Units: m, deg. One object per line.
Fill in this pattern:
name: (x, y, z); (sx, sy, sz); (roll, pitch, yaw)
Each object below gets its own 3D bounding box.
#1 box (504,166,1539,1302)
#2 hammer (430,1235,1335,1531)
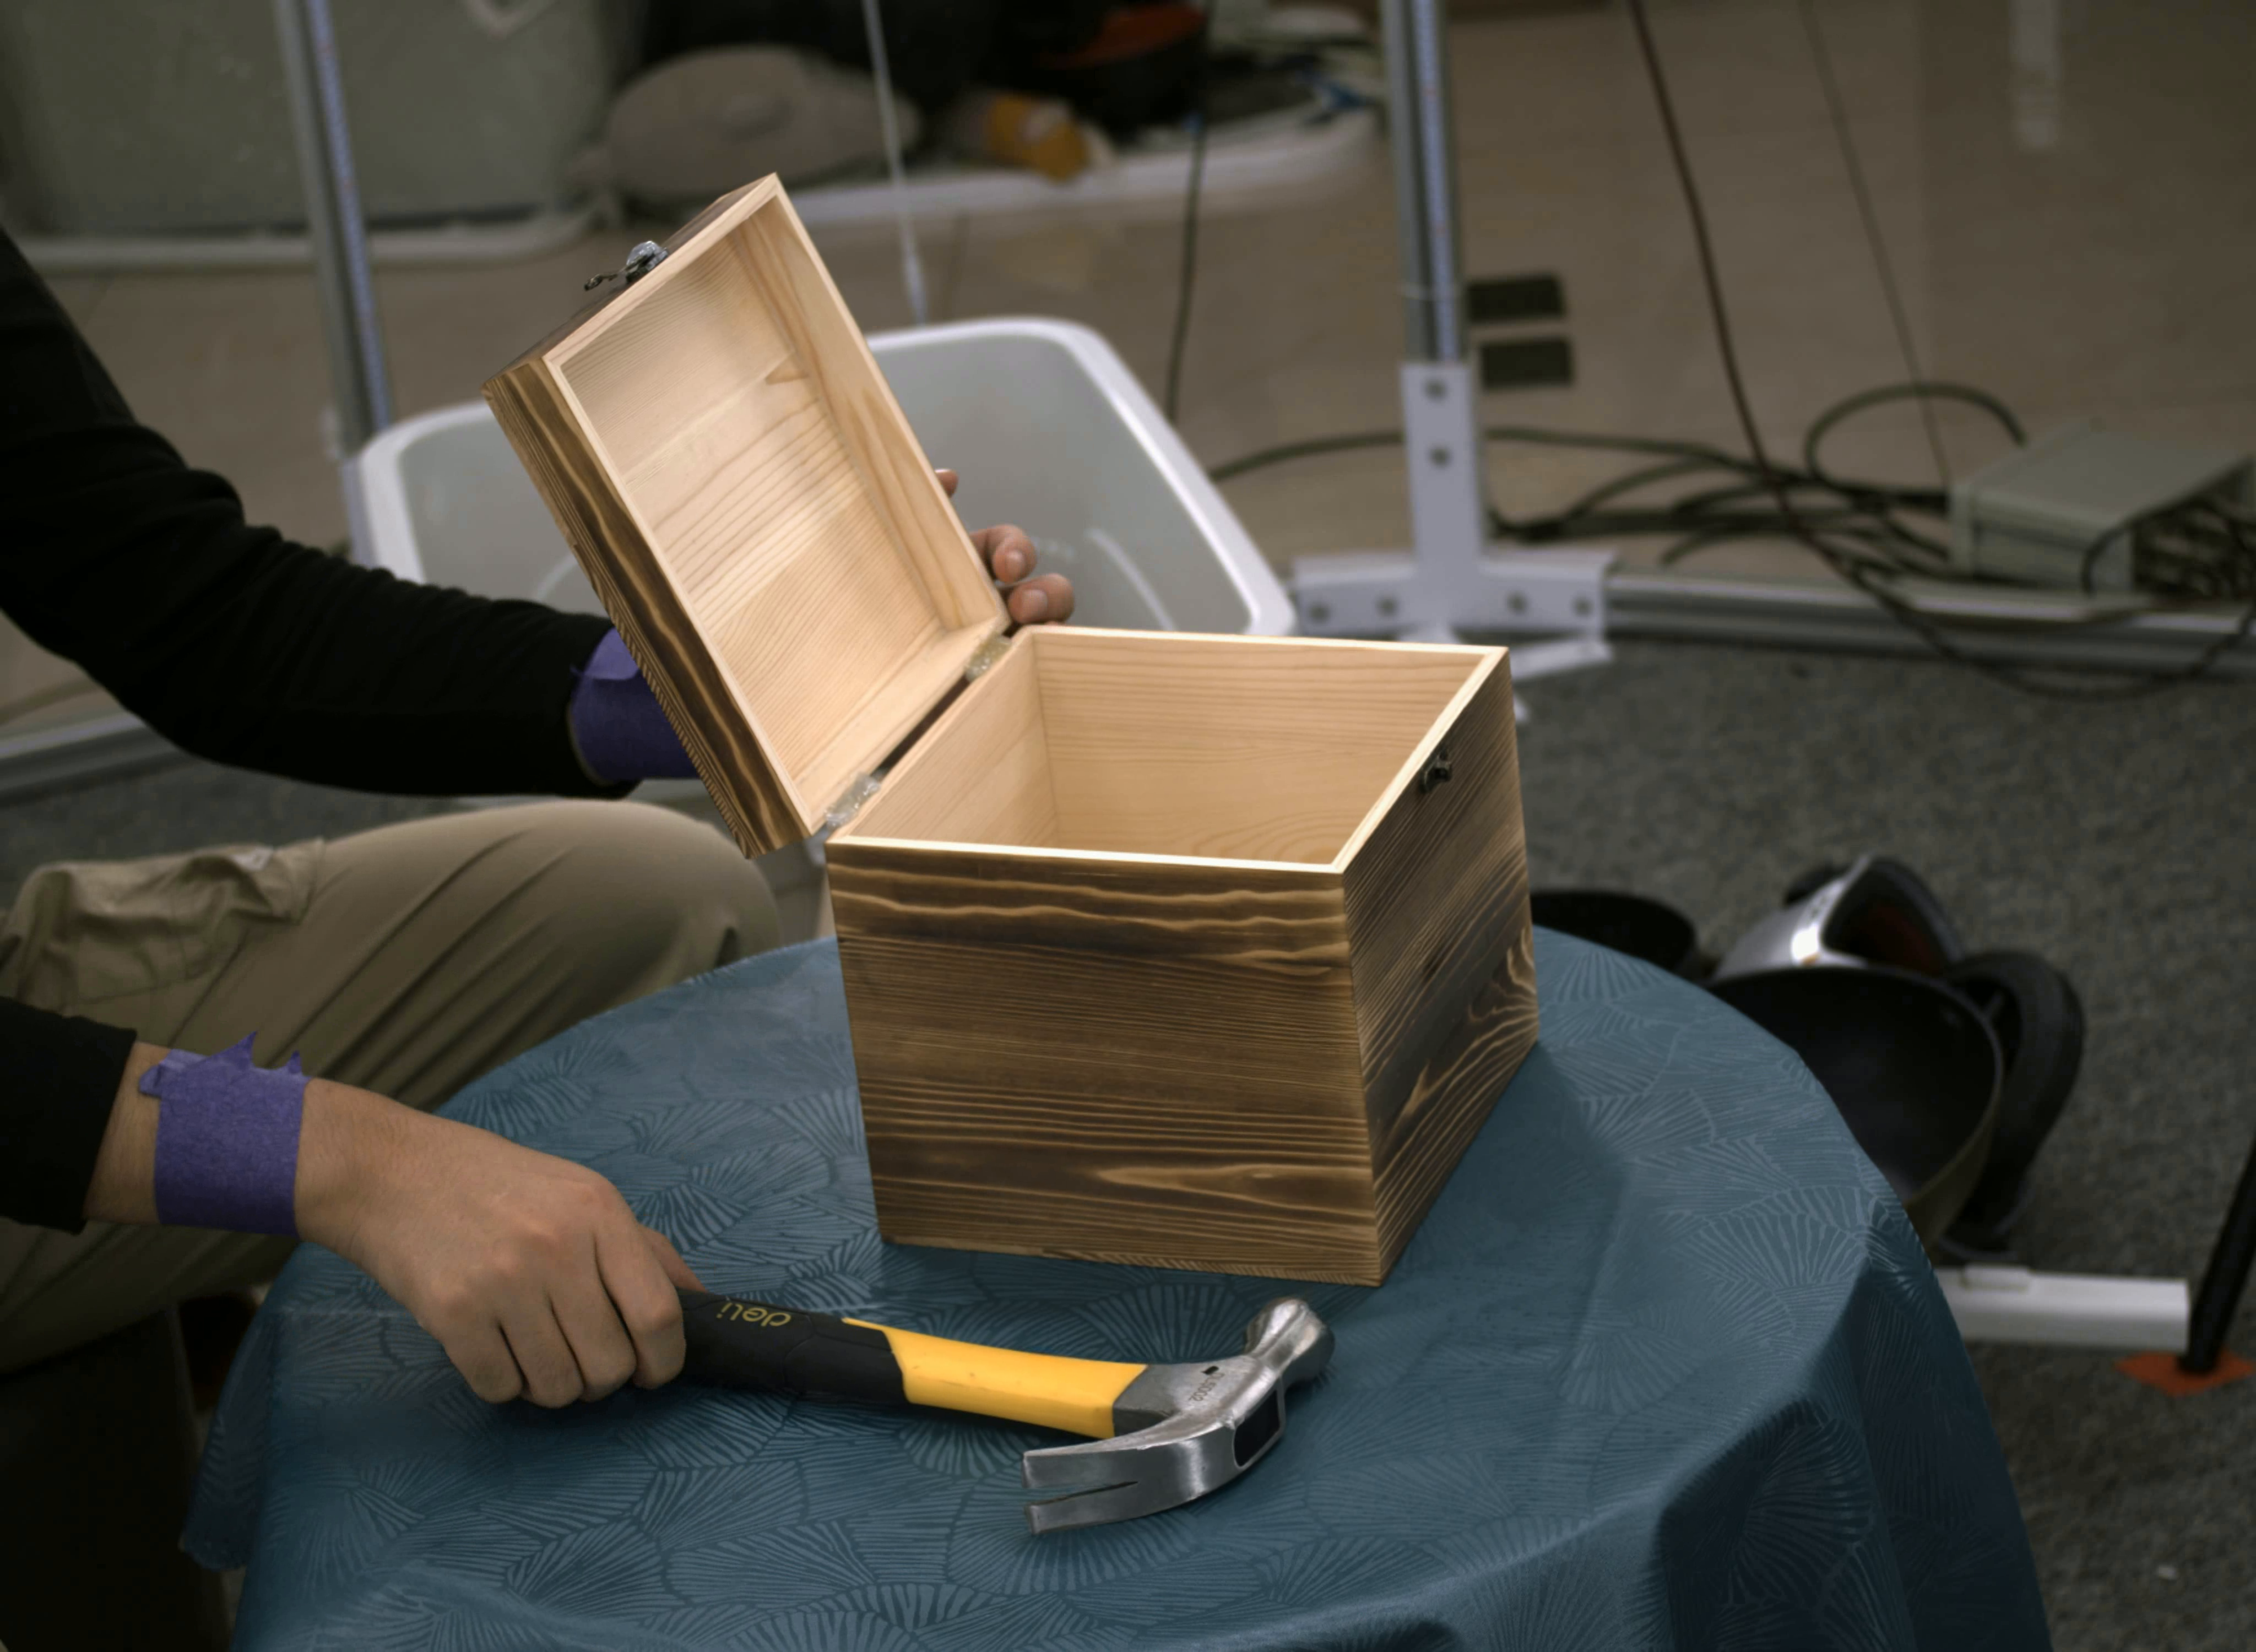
box: (-0.032, -0.043, 2.118); (0.321, 0.381, 0.206); (3, 28, 21)
hammer: (-0.104, 0.186, 2.031); (0.337, 0.033, 0.130); (8, 28, 27)
